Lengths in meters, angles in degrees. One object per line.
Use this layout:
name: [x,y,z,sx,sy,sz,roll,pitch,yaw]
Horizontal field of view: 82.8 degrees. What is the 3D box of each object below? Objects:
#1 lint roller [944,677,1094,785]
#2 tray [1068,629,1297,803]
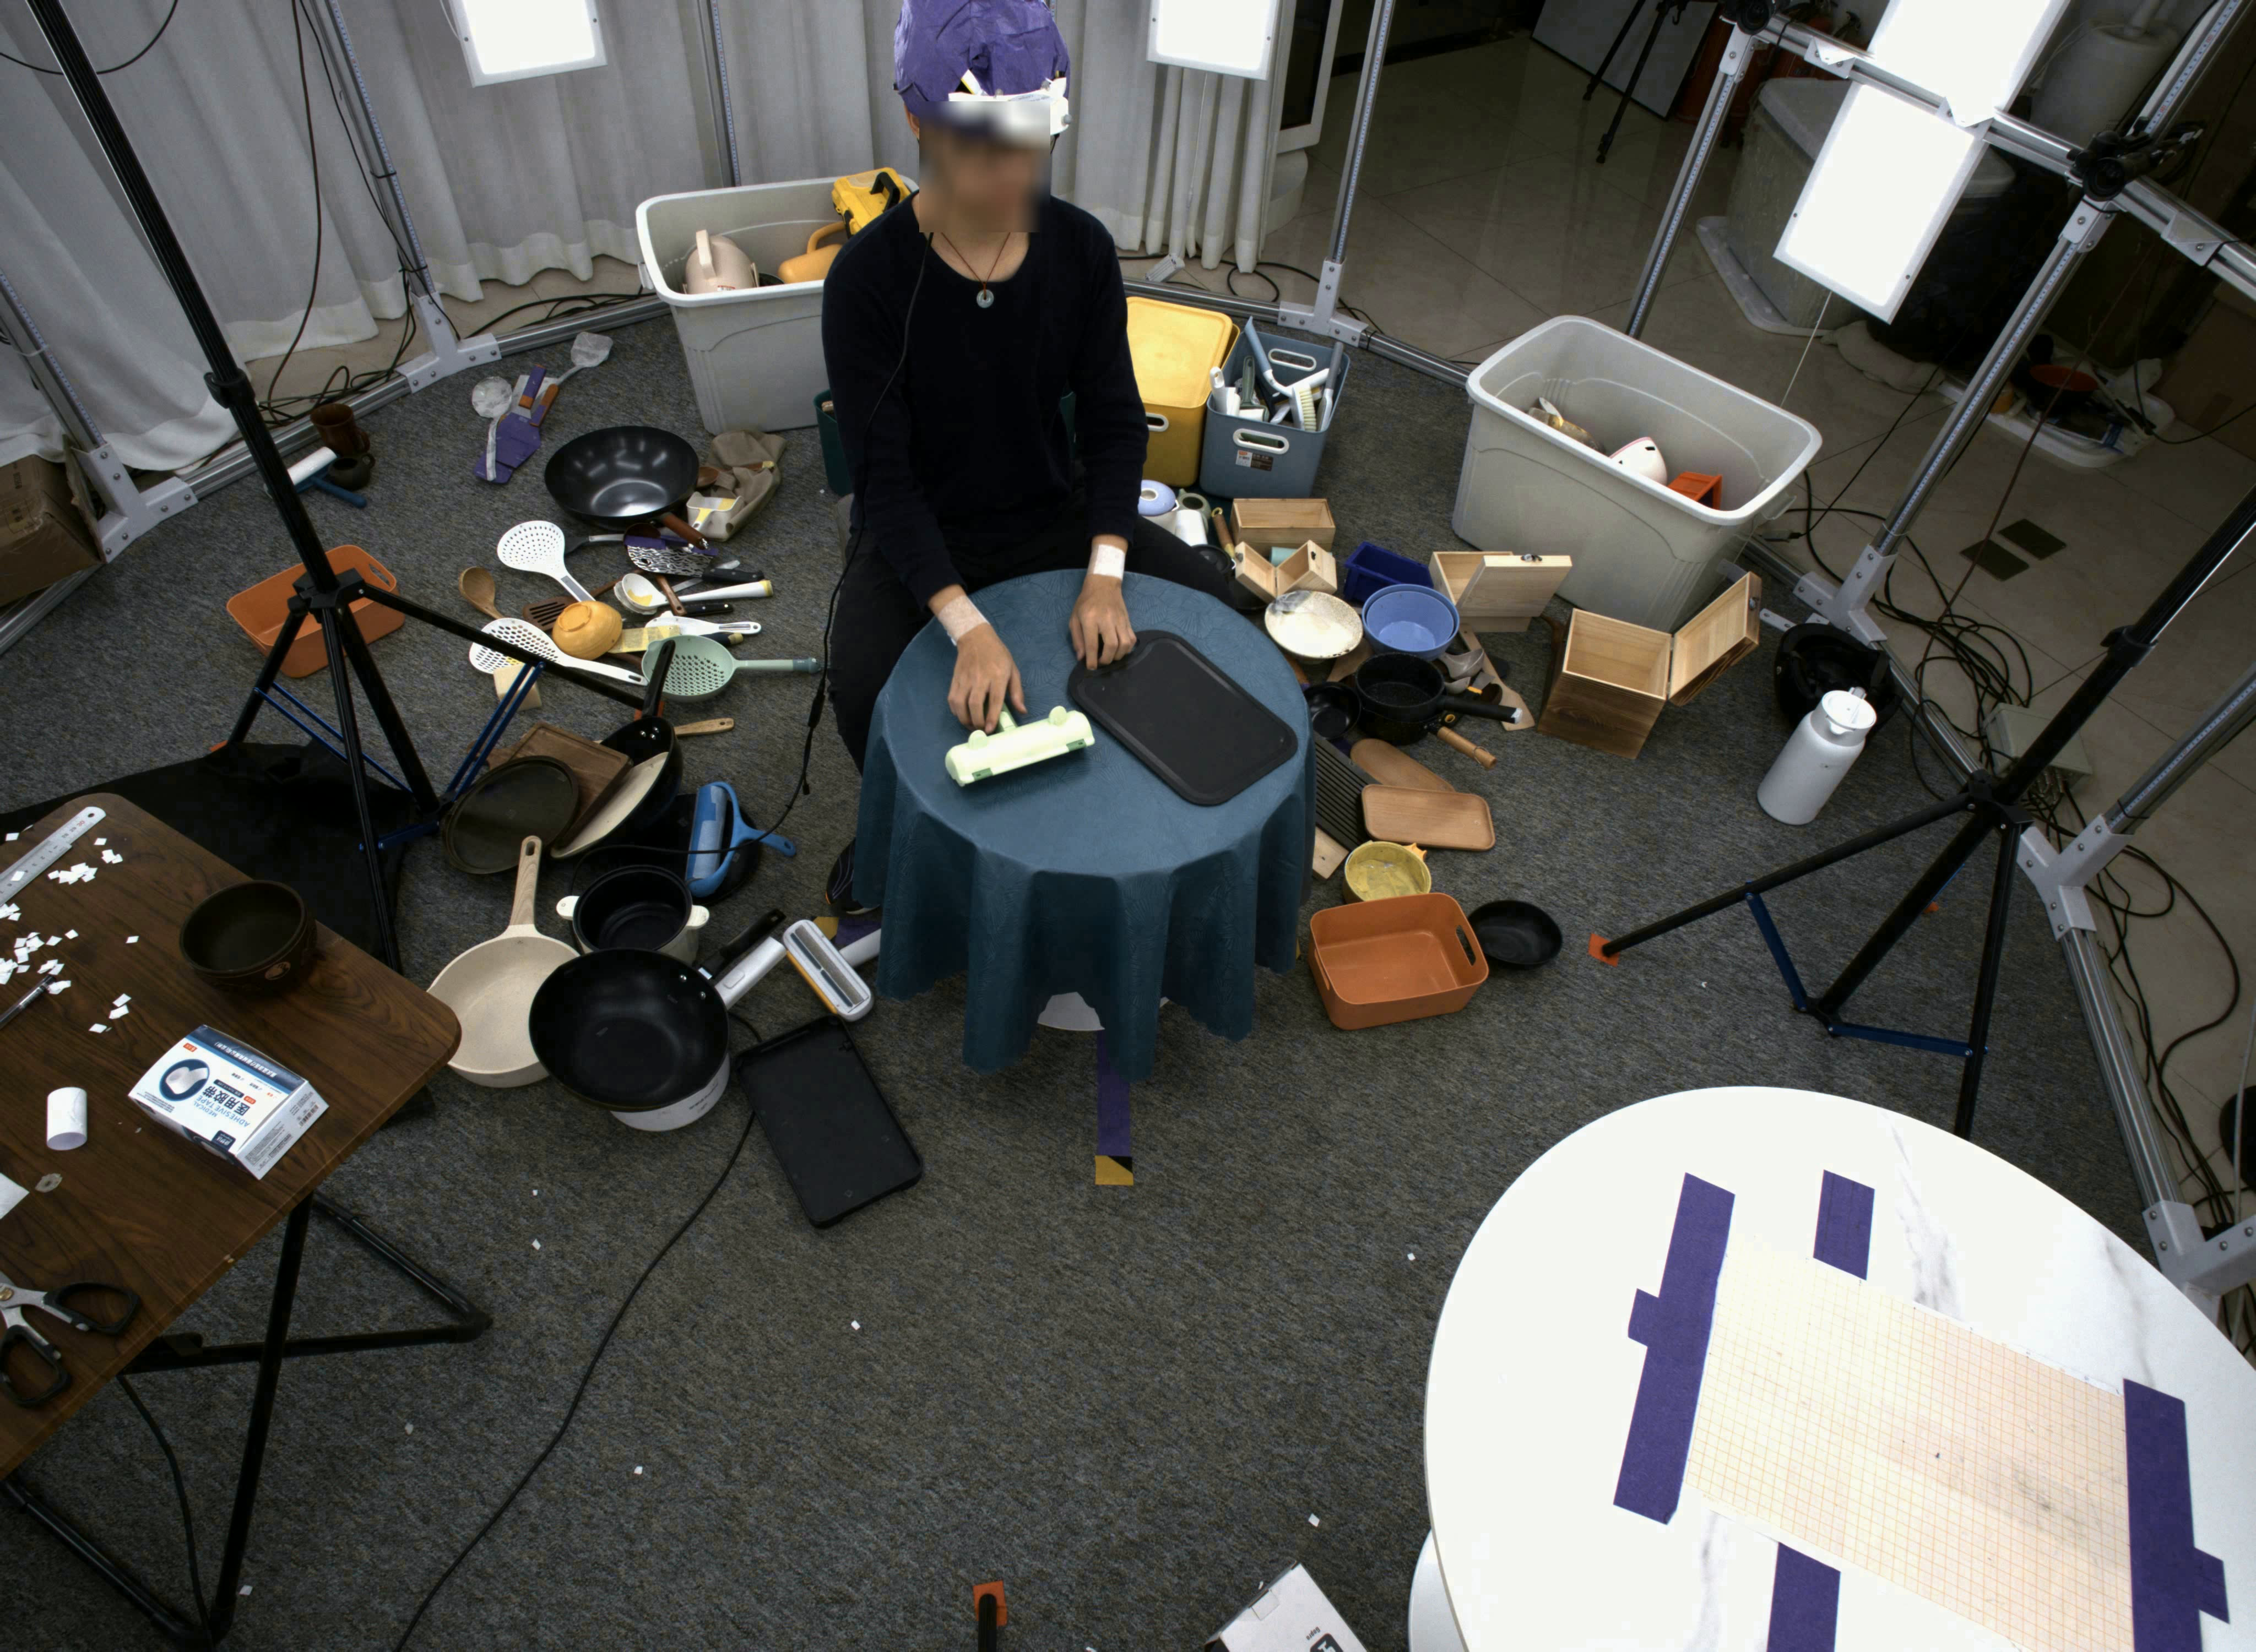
lint roller: [-0.169,-0.152,1.734,0.199,0.080,0.187,-19,59,-20]
tray: [0.069,-0.166,1.805,0.212,0.009,0.331,-31,60,-28]
